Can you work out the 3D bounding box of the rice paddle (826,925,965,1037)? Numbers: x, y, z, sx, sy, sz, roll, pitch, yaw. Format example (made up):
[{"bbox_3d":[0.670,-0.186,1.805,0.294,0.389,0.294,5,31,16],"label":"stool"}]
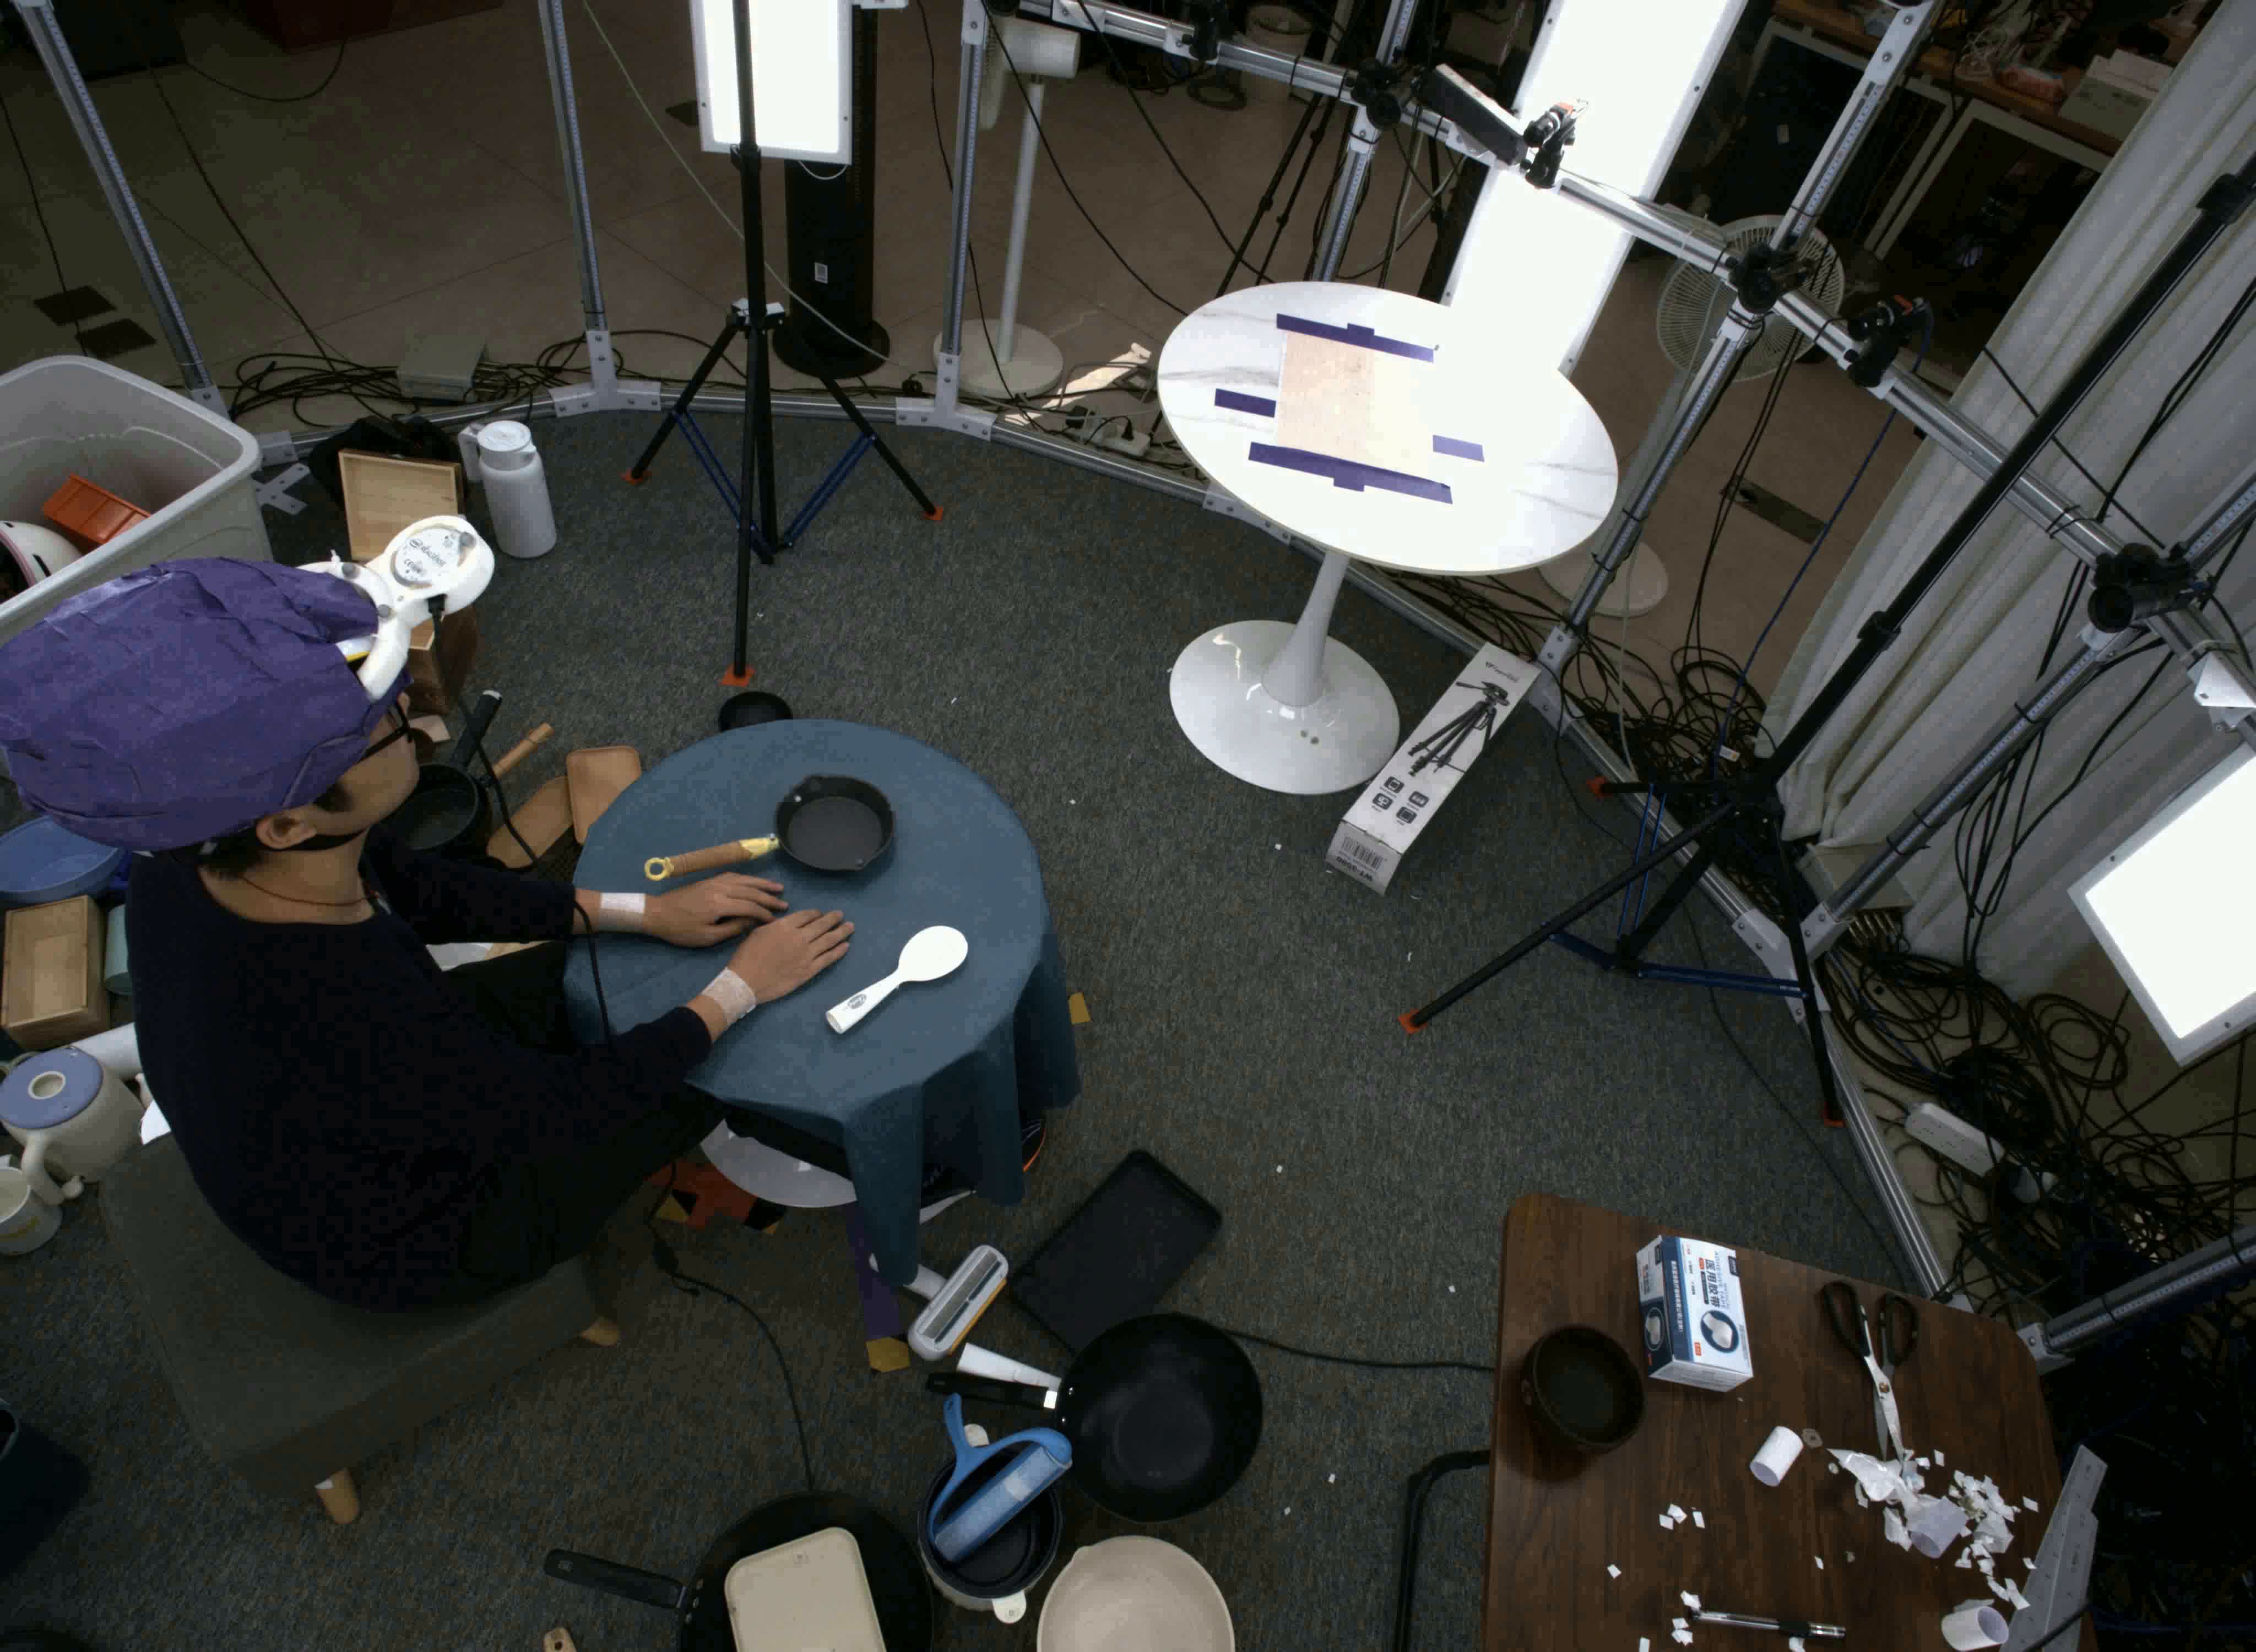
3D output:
[{"bbox_3d":[-0.282,0.183,1.596,0.067,0.030,0.205,42,55,16],"label":"rice paddle"}]

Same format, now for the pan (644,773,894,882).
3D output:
[{"bbox_3d":[-0.458,0.019,1.658,0.326,0.050,0.165,-17,60,-27],"label":"pan"}]
